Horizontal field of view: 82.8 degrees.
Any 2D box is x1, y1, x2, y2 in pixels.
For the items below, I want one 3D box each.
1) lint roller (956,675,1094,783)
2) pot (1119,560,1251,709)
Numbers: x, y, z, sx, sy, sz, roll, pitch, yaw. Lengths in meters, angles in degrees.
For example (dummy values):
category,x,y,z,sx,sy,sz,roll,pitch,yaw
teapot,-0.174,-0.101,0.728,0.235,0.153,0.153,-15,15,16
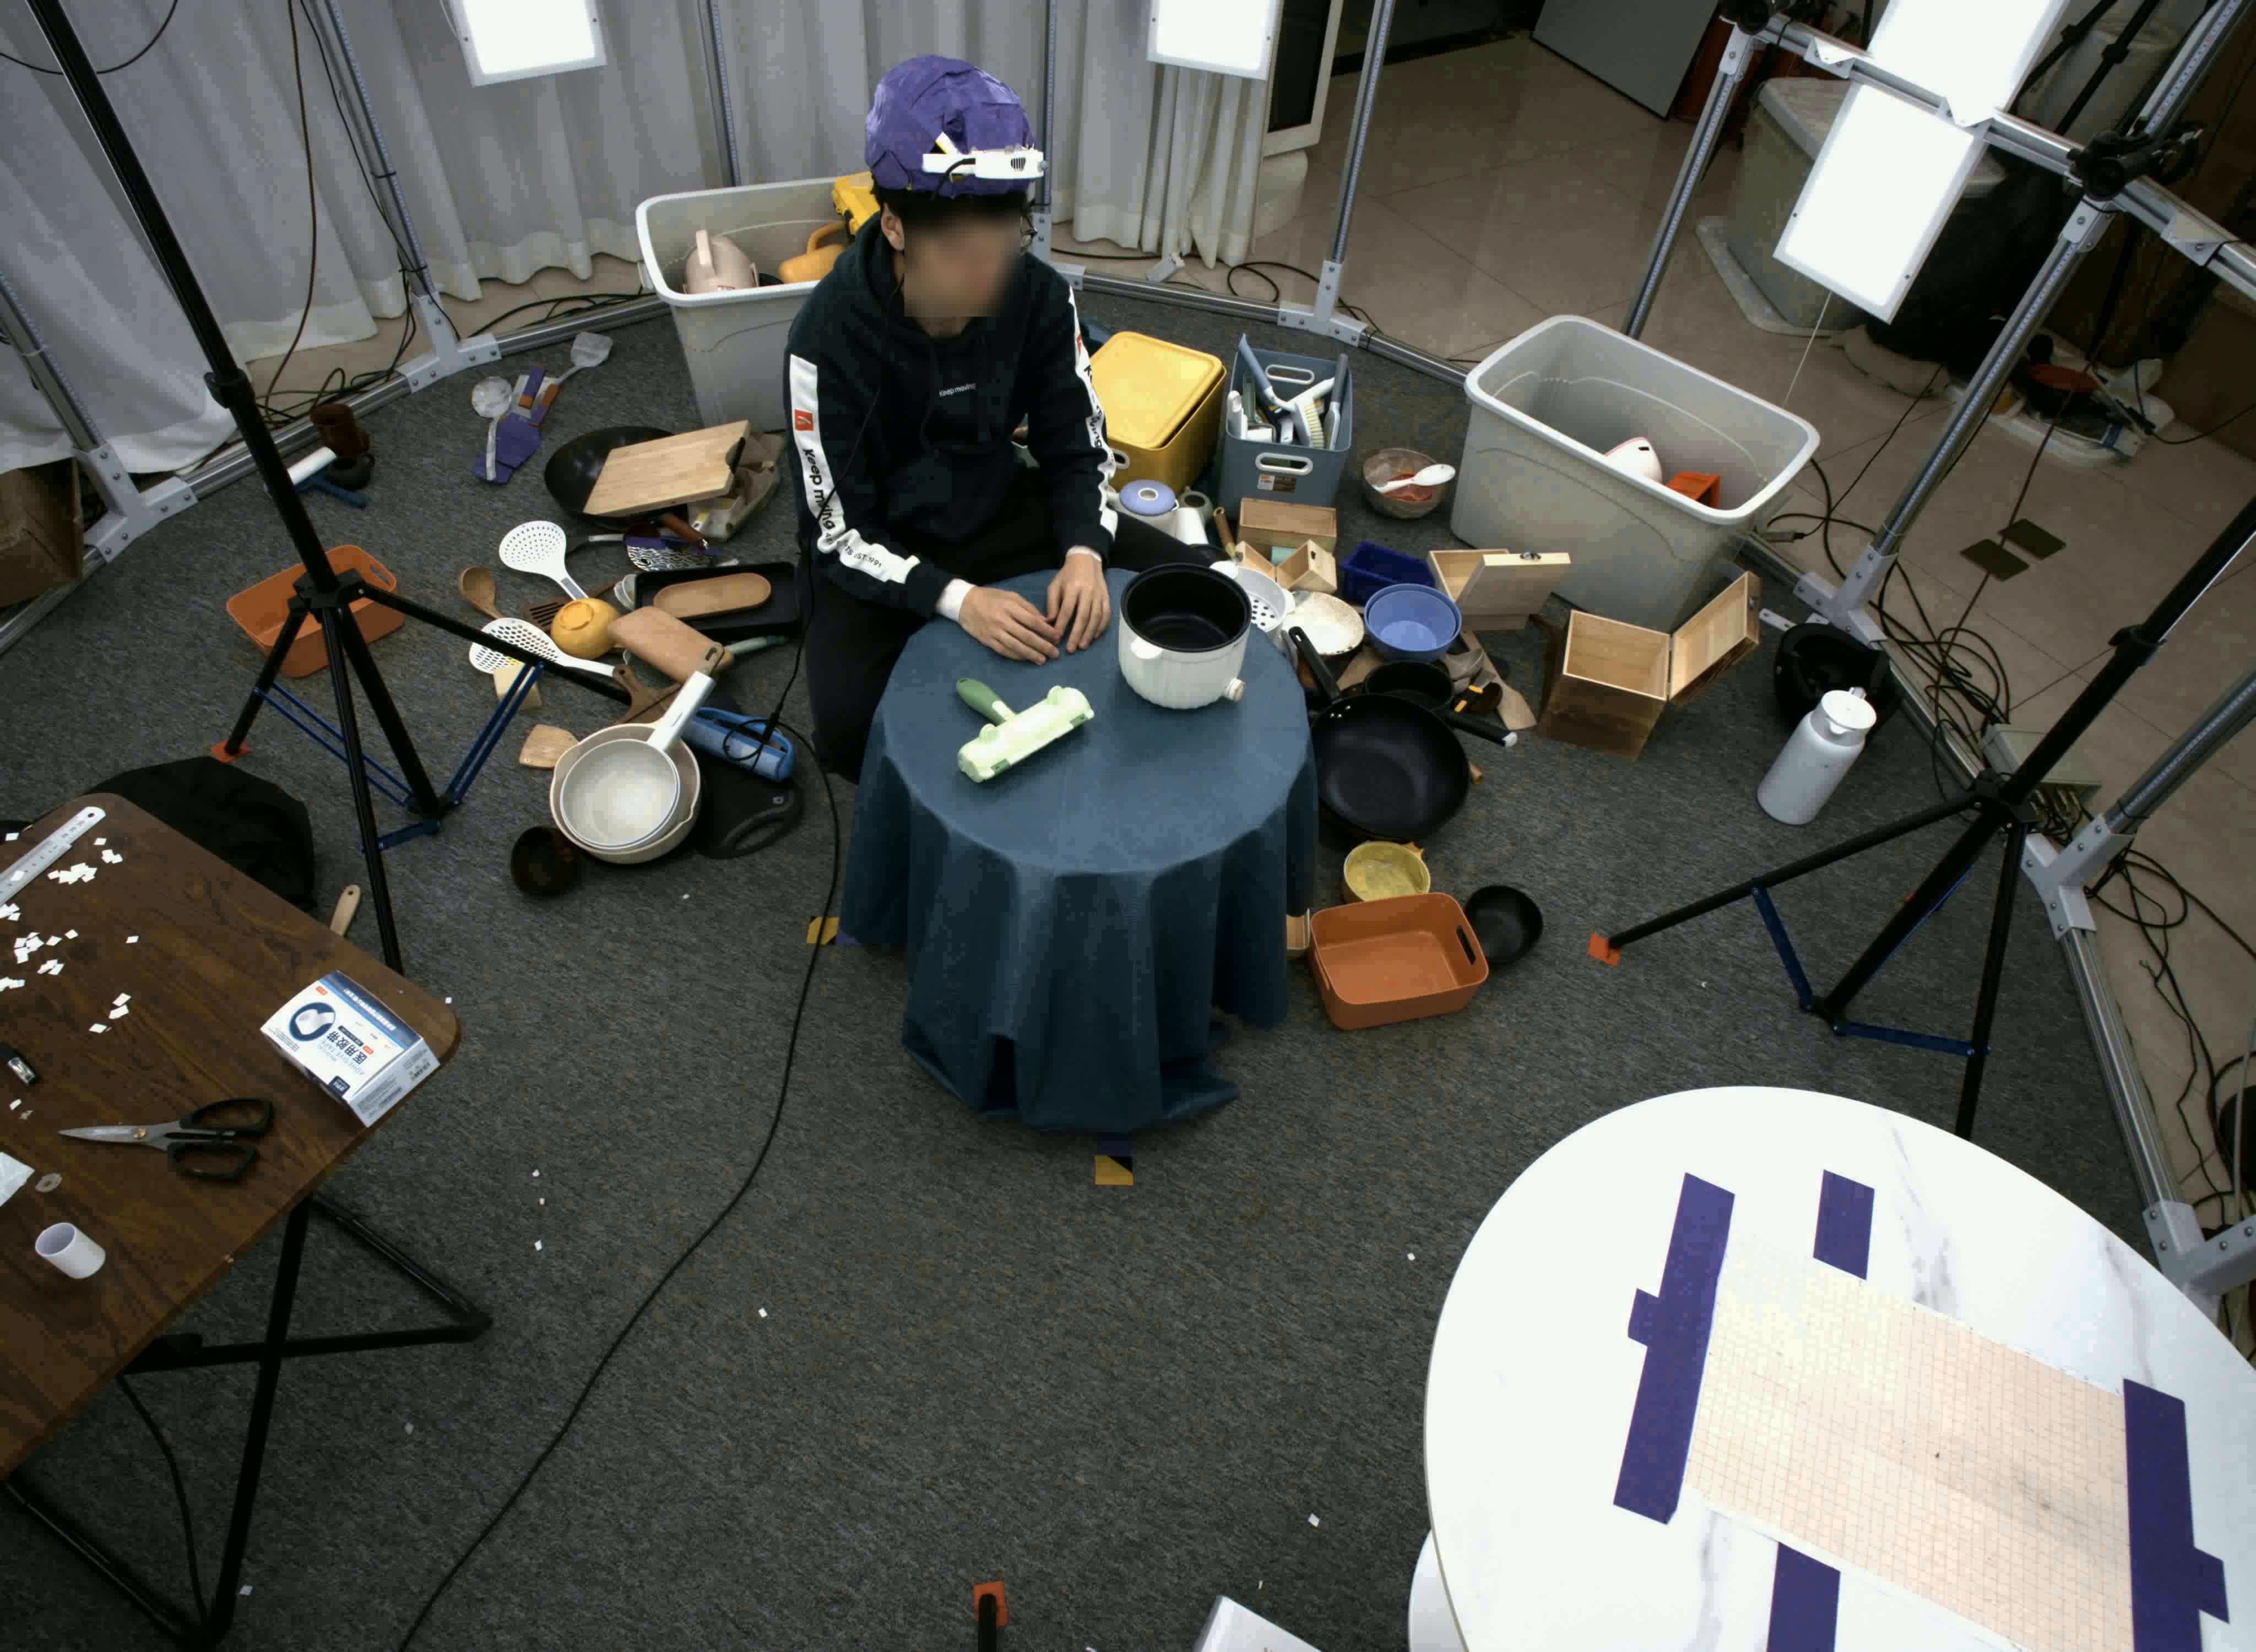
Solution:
category,x,y,z,sx,sy,sz,roll,pitch,yaw
lint roller,-0.174,-0.165,1.751,0.200,0.080,0.186,-32,64,-27
pot,0.081,-0.259,1.809,0.192,0.139,0.244,26,54,22
